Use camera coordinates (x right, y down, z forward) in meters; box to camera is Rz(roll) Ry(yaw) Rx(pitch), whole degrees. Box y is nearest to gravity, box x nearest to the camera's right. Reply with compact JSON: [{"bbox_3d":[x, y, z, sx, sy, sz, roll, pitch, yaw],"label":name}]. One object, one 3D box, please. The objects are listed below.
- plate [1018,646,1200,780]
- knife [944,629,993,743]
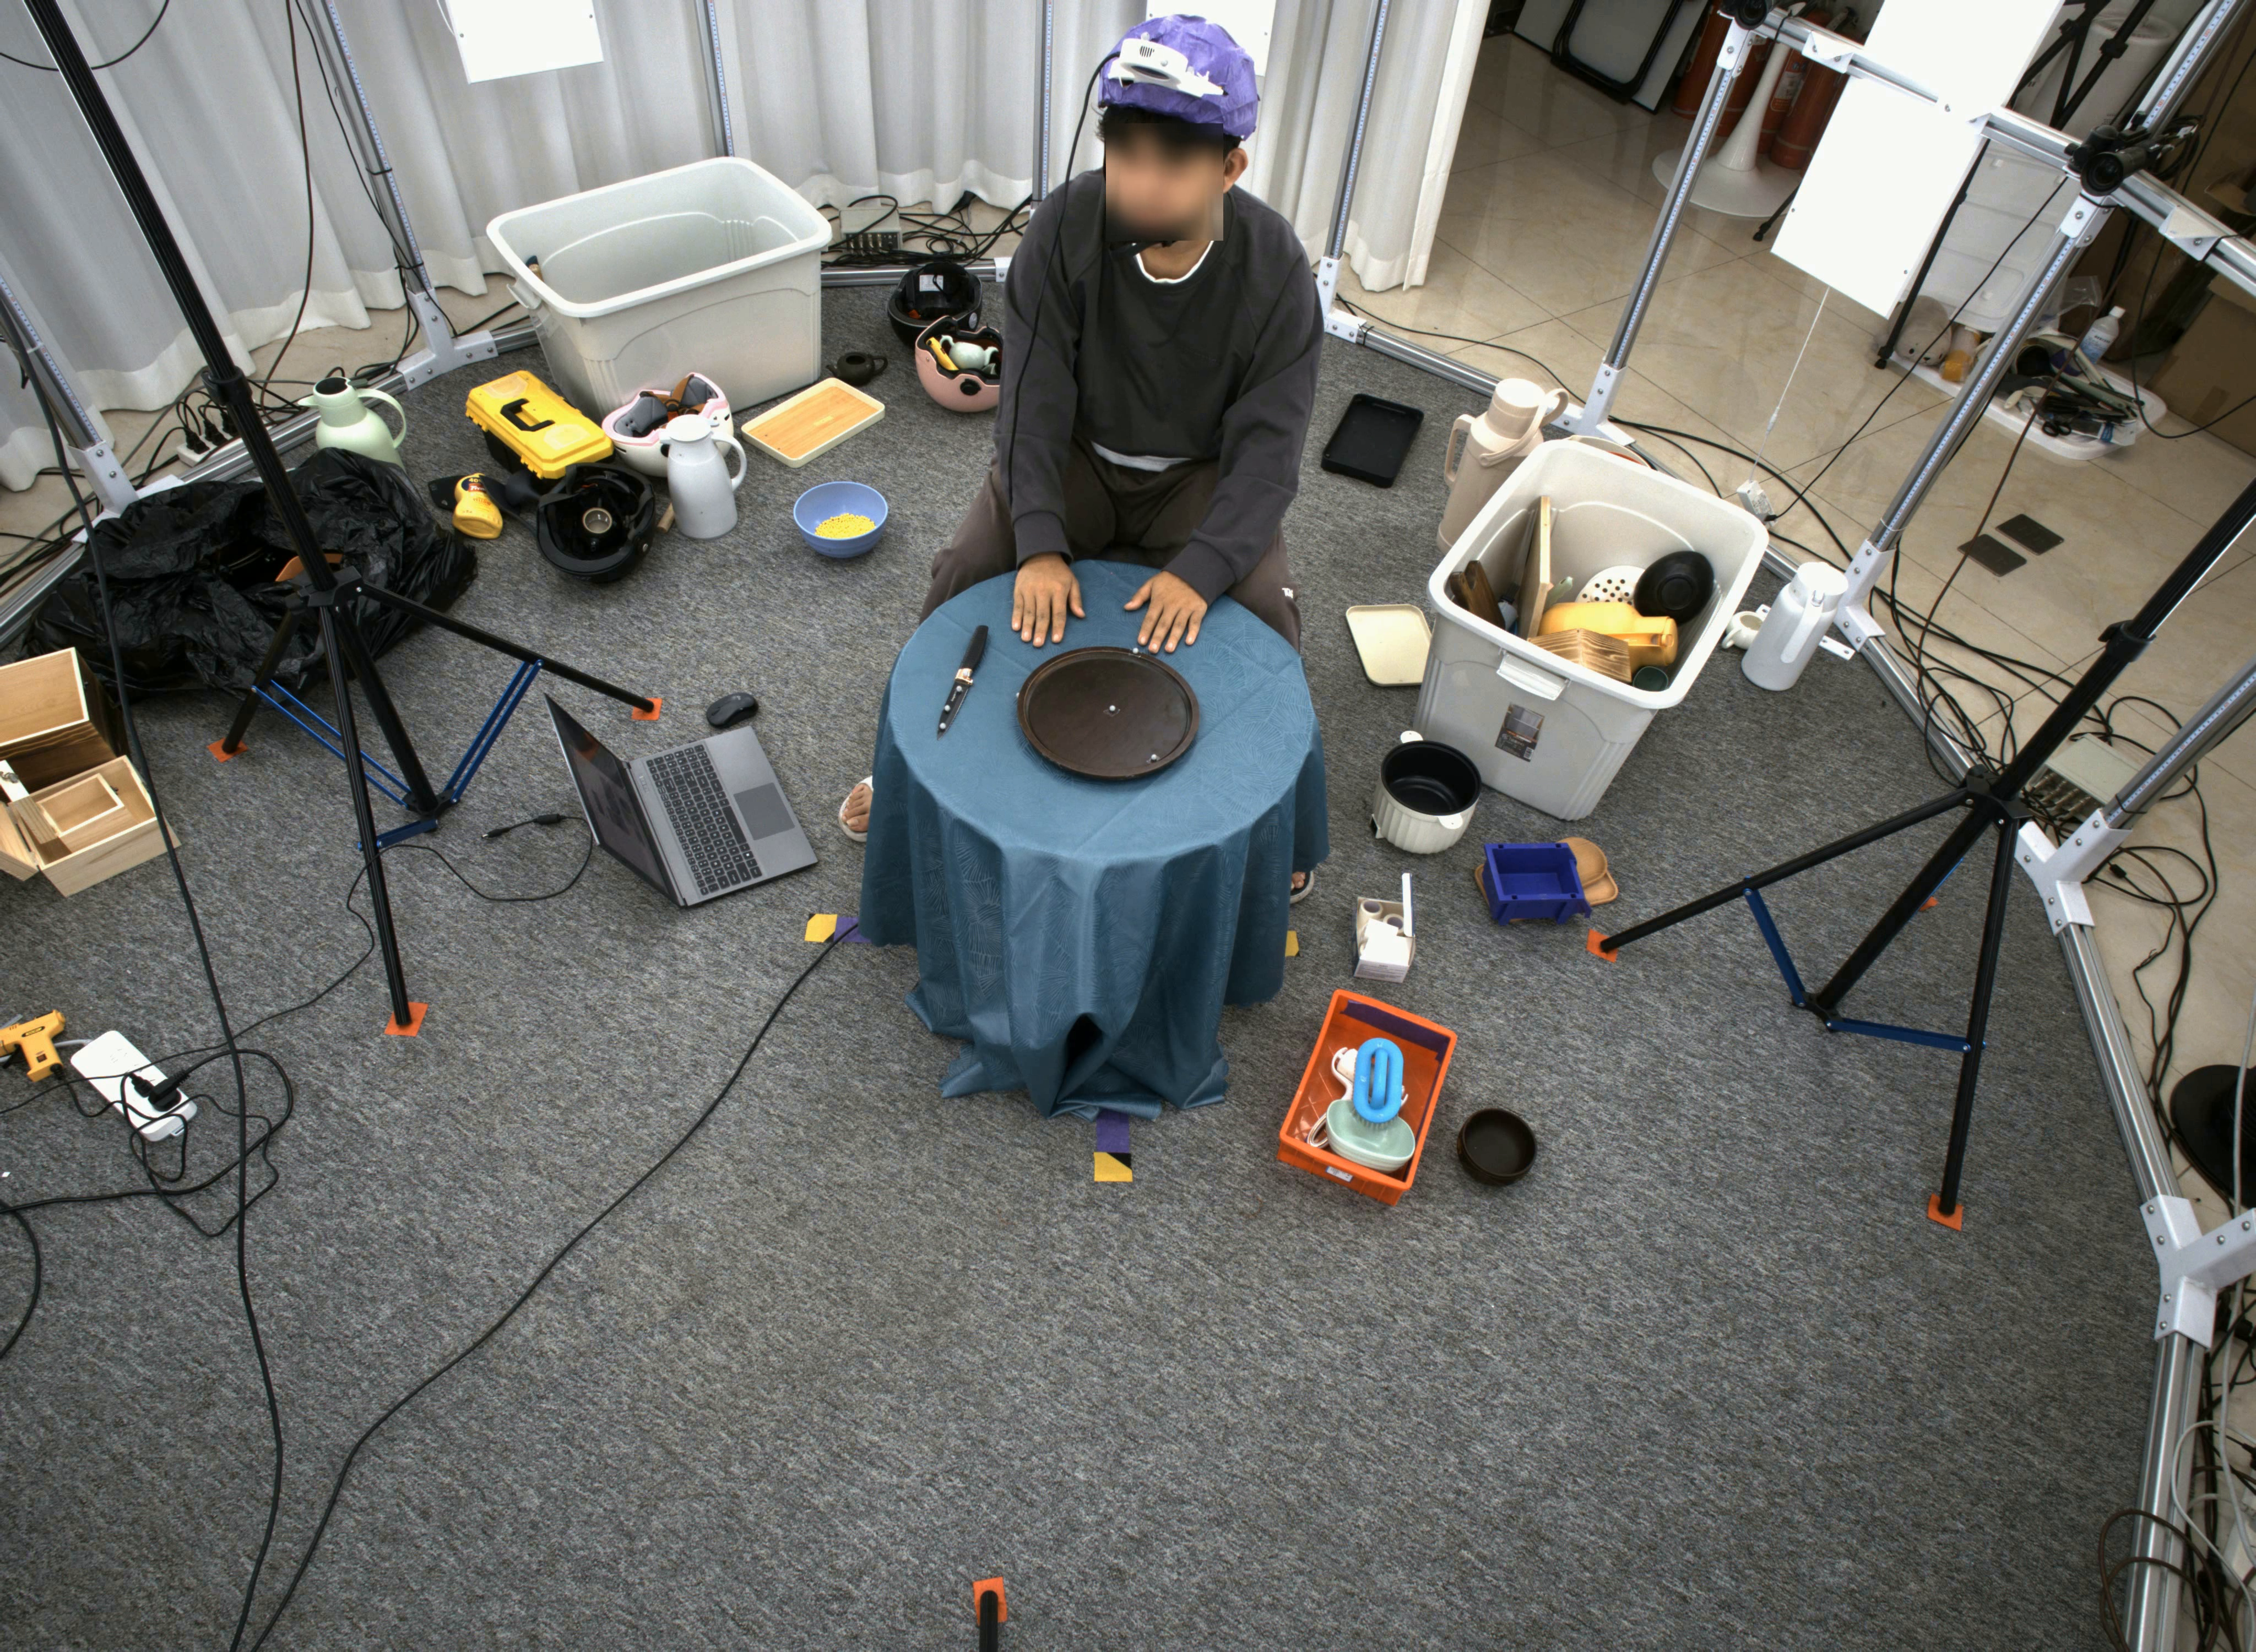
[{"bbox_3d":[-0.026,-0.159,1.786,0.254,0.028,0.261,2,48,-2],"label":"plate"},{"bbox_3d":[-0.229,-0.200,1.815,0.026,0.017,0.230,15,50,1],"label":"knife"}]
